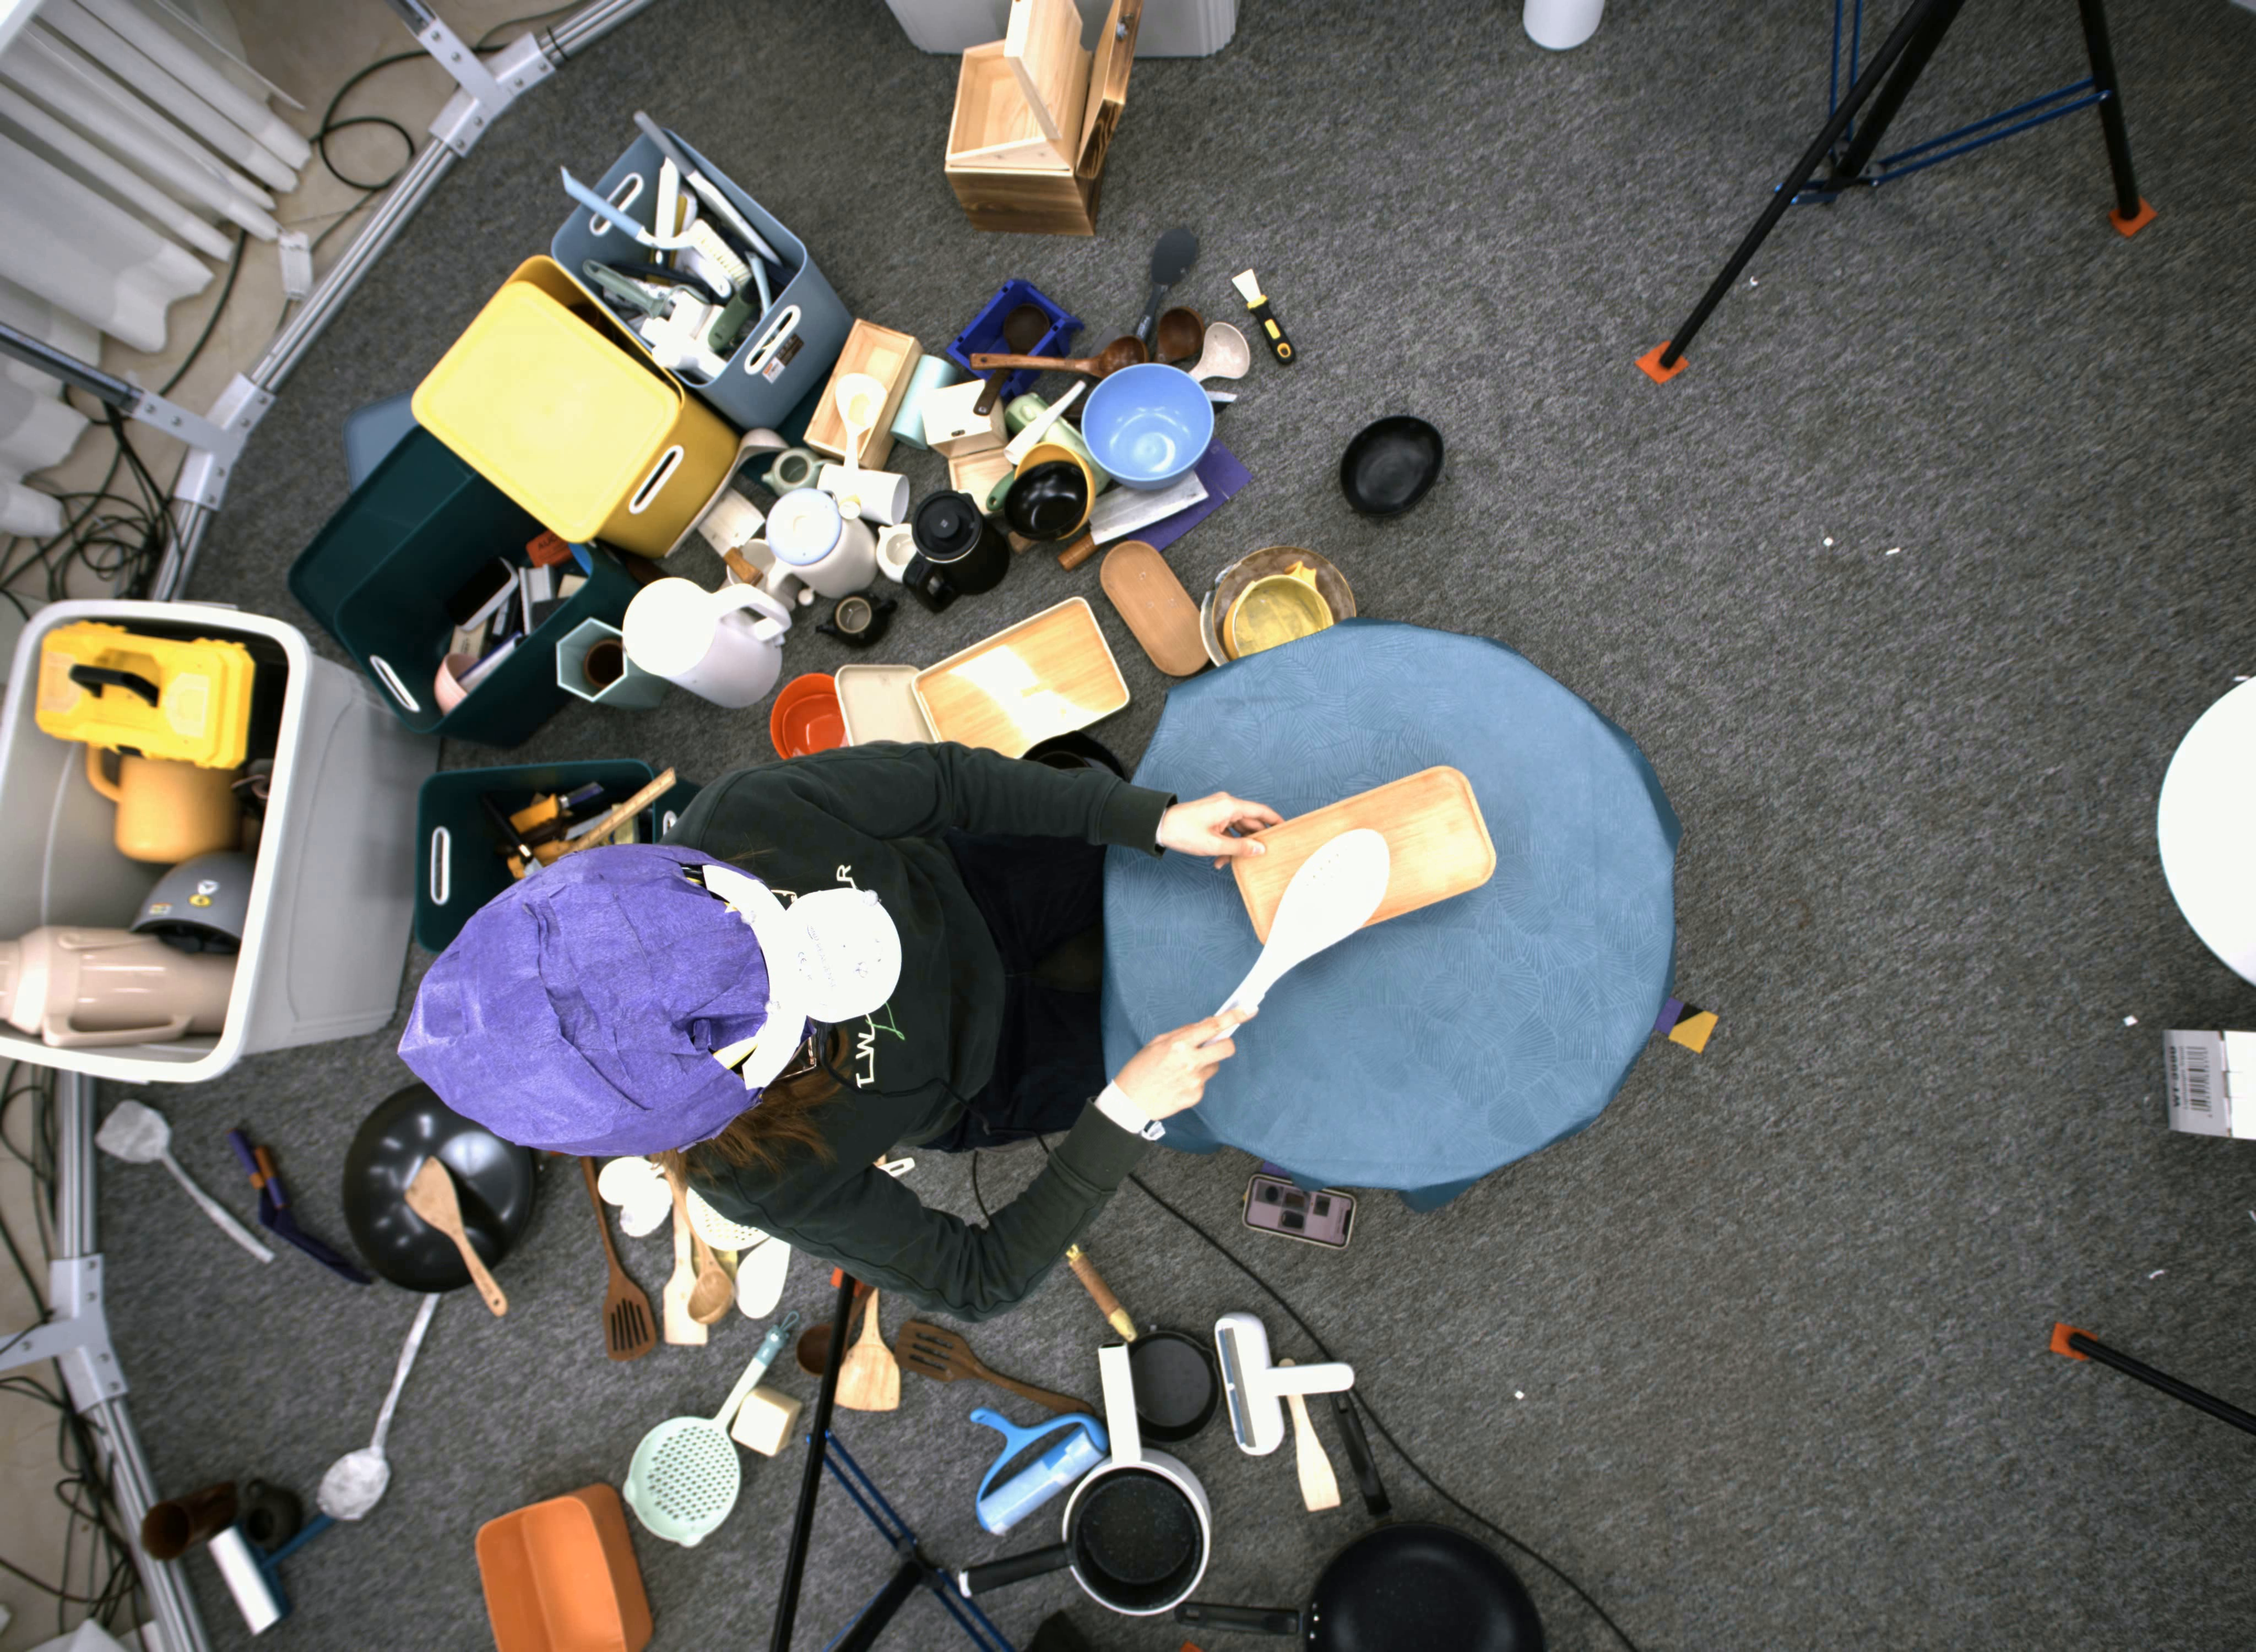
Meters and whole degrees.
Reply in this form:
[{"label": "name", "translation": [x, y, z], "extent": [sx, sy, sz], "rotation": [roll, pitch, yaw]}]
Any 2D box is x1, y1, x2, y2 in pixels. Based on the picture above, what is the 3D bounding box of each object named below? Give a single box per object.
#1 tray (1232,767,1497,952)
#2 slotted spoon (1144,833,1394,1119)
[{"label": "tray", "translation": [0.235, 0.035, 1.384], "extent": [0.252, 0.022, 0.130], "rotation": [-20, 92, 13]}, {"label": "slotted spoon", "translation": [0.136, 0.146, 1.337], "extent": [0.350, 0.135, 0.046], "rotation": [-45, 110, 1]}]
